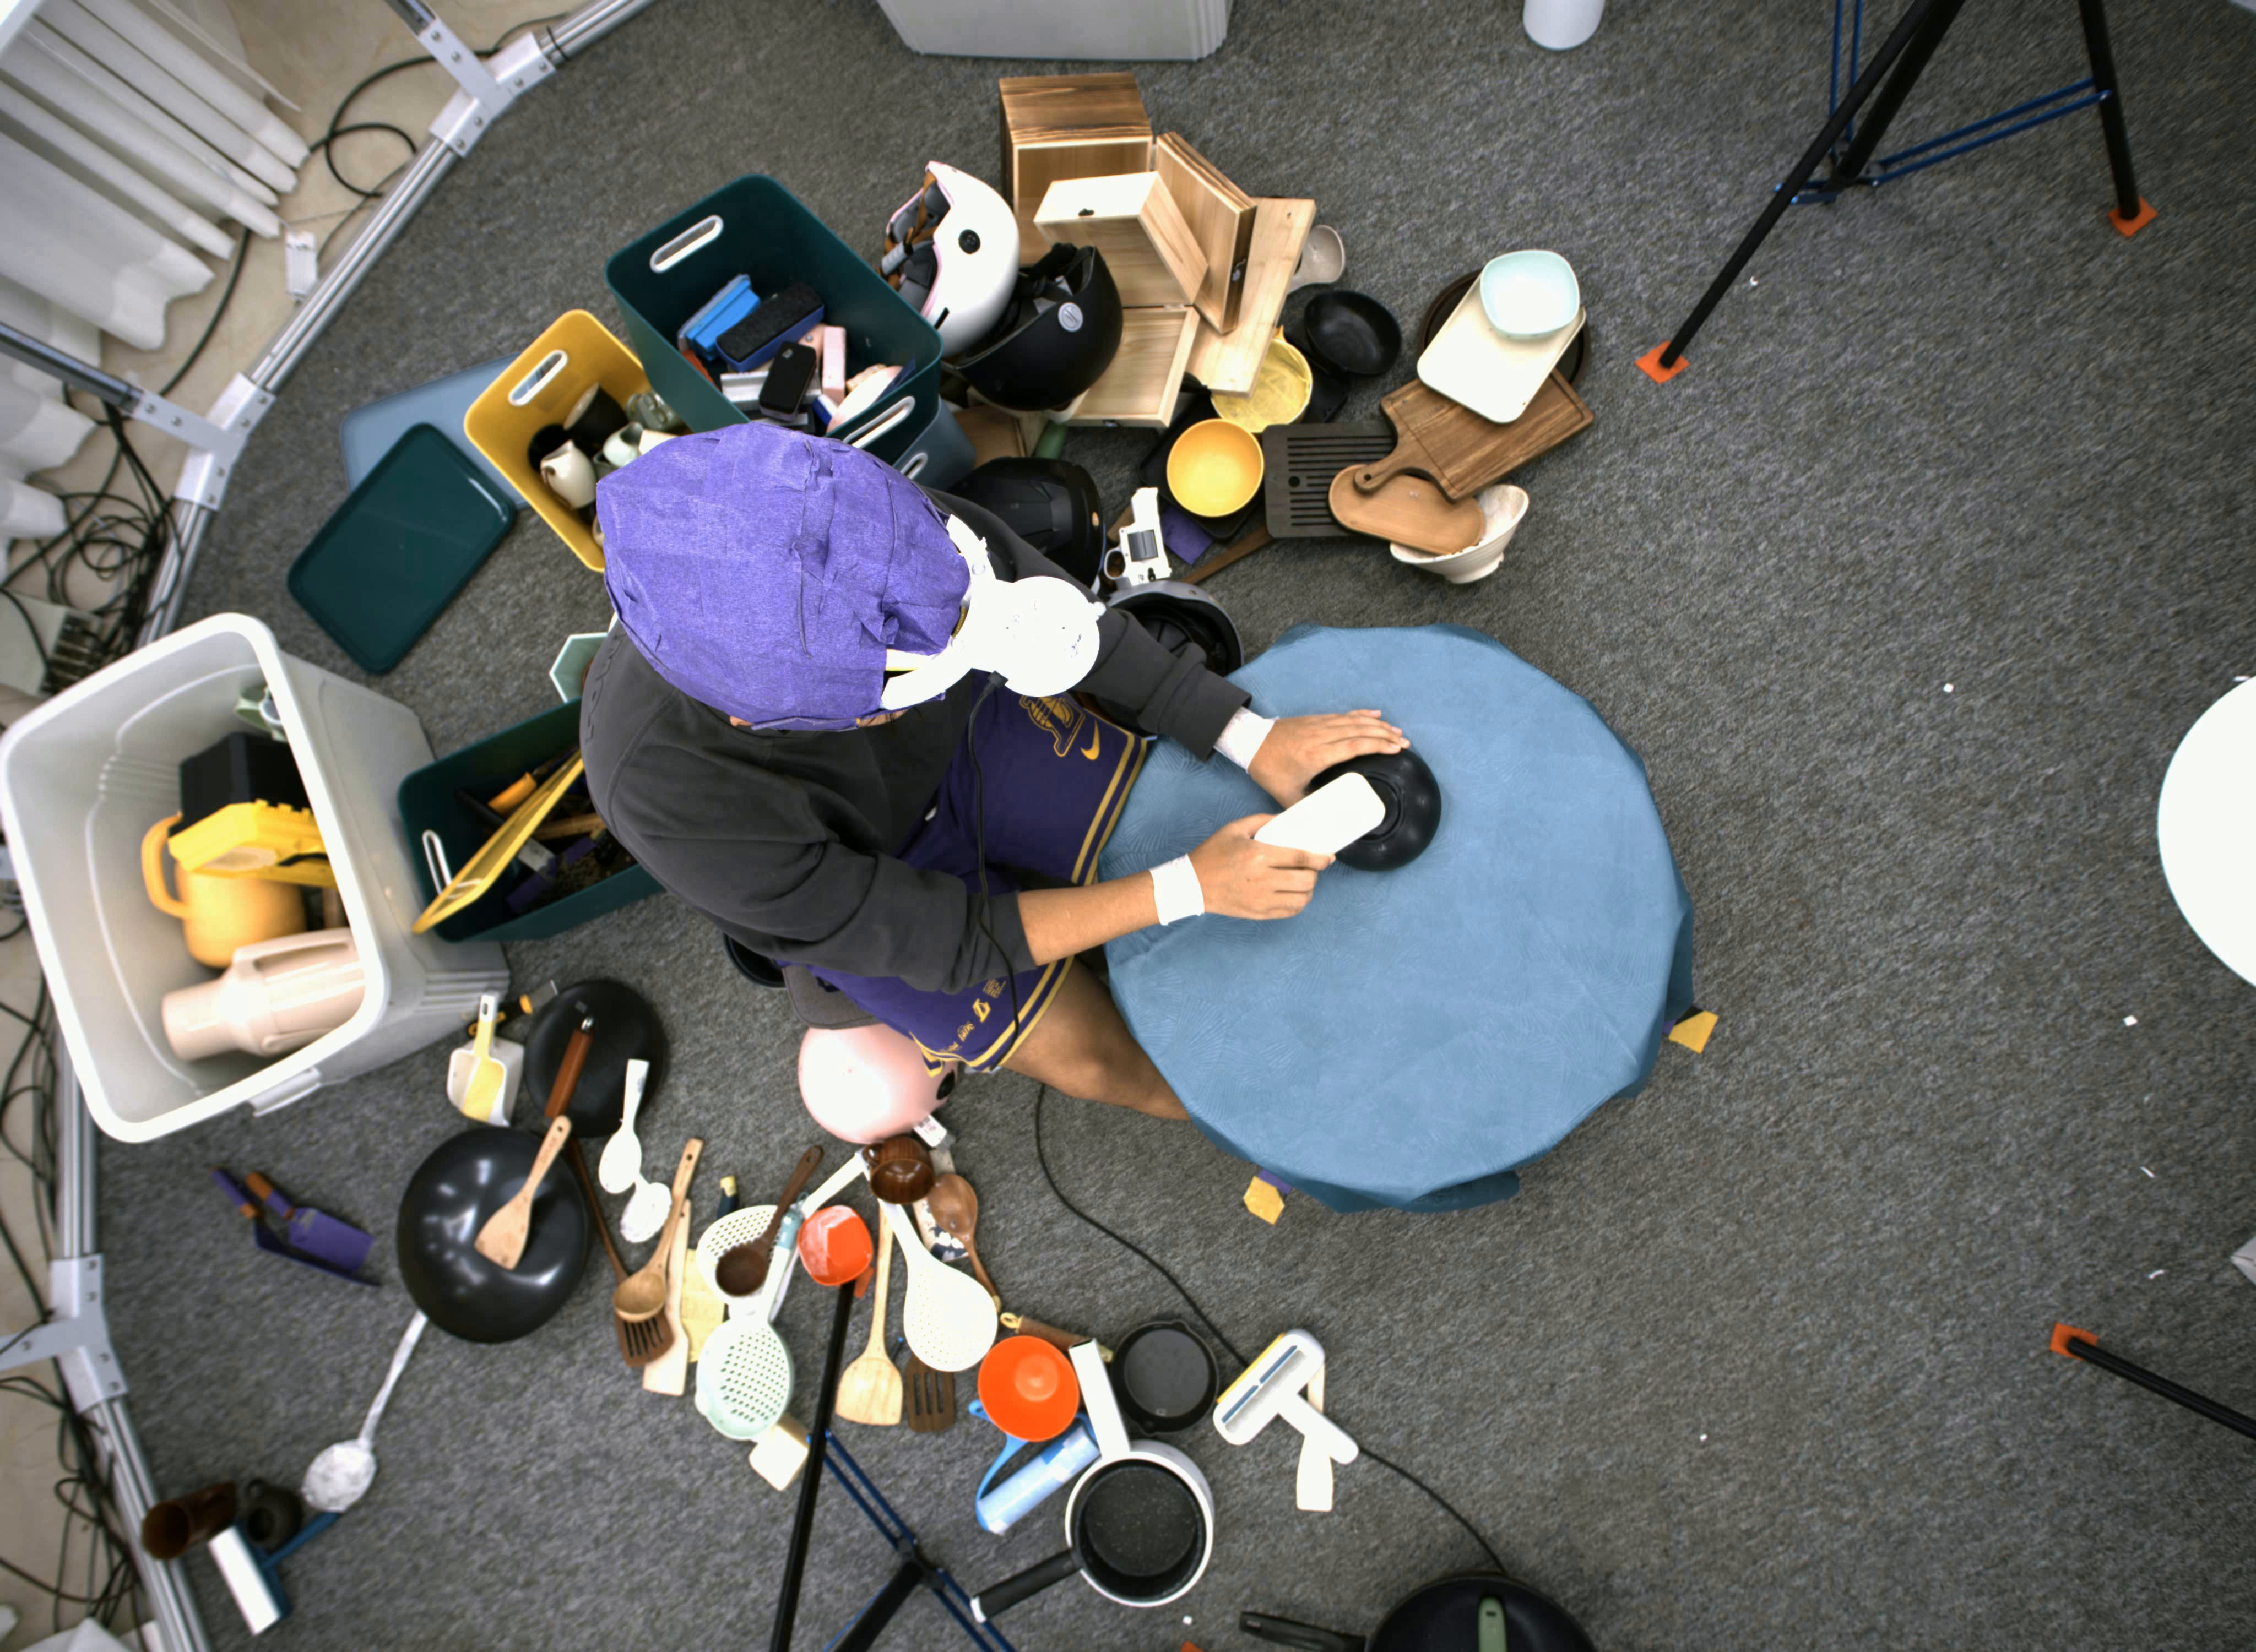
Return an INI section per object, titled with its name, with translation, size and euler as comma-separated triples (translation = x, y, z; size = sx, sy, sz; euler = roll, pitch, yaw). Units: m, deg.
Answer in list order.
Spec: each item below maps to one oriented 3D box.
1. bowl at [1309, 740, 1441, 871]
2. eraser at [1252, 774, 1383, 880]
[bowl]
translation = 0.252, -0.020, 1.427
size = 0.140, 0.049, 0.141
euler = 2, 99, 17
[eraser]
translation = 0.190, -0.001, 1.390
size = 0.131, 0.035, 0.062
euler = -30, 68, 1
